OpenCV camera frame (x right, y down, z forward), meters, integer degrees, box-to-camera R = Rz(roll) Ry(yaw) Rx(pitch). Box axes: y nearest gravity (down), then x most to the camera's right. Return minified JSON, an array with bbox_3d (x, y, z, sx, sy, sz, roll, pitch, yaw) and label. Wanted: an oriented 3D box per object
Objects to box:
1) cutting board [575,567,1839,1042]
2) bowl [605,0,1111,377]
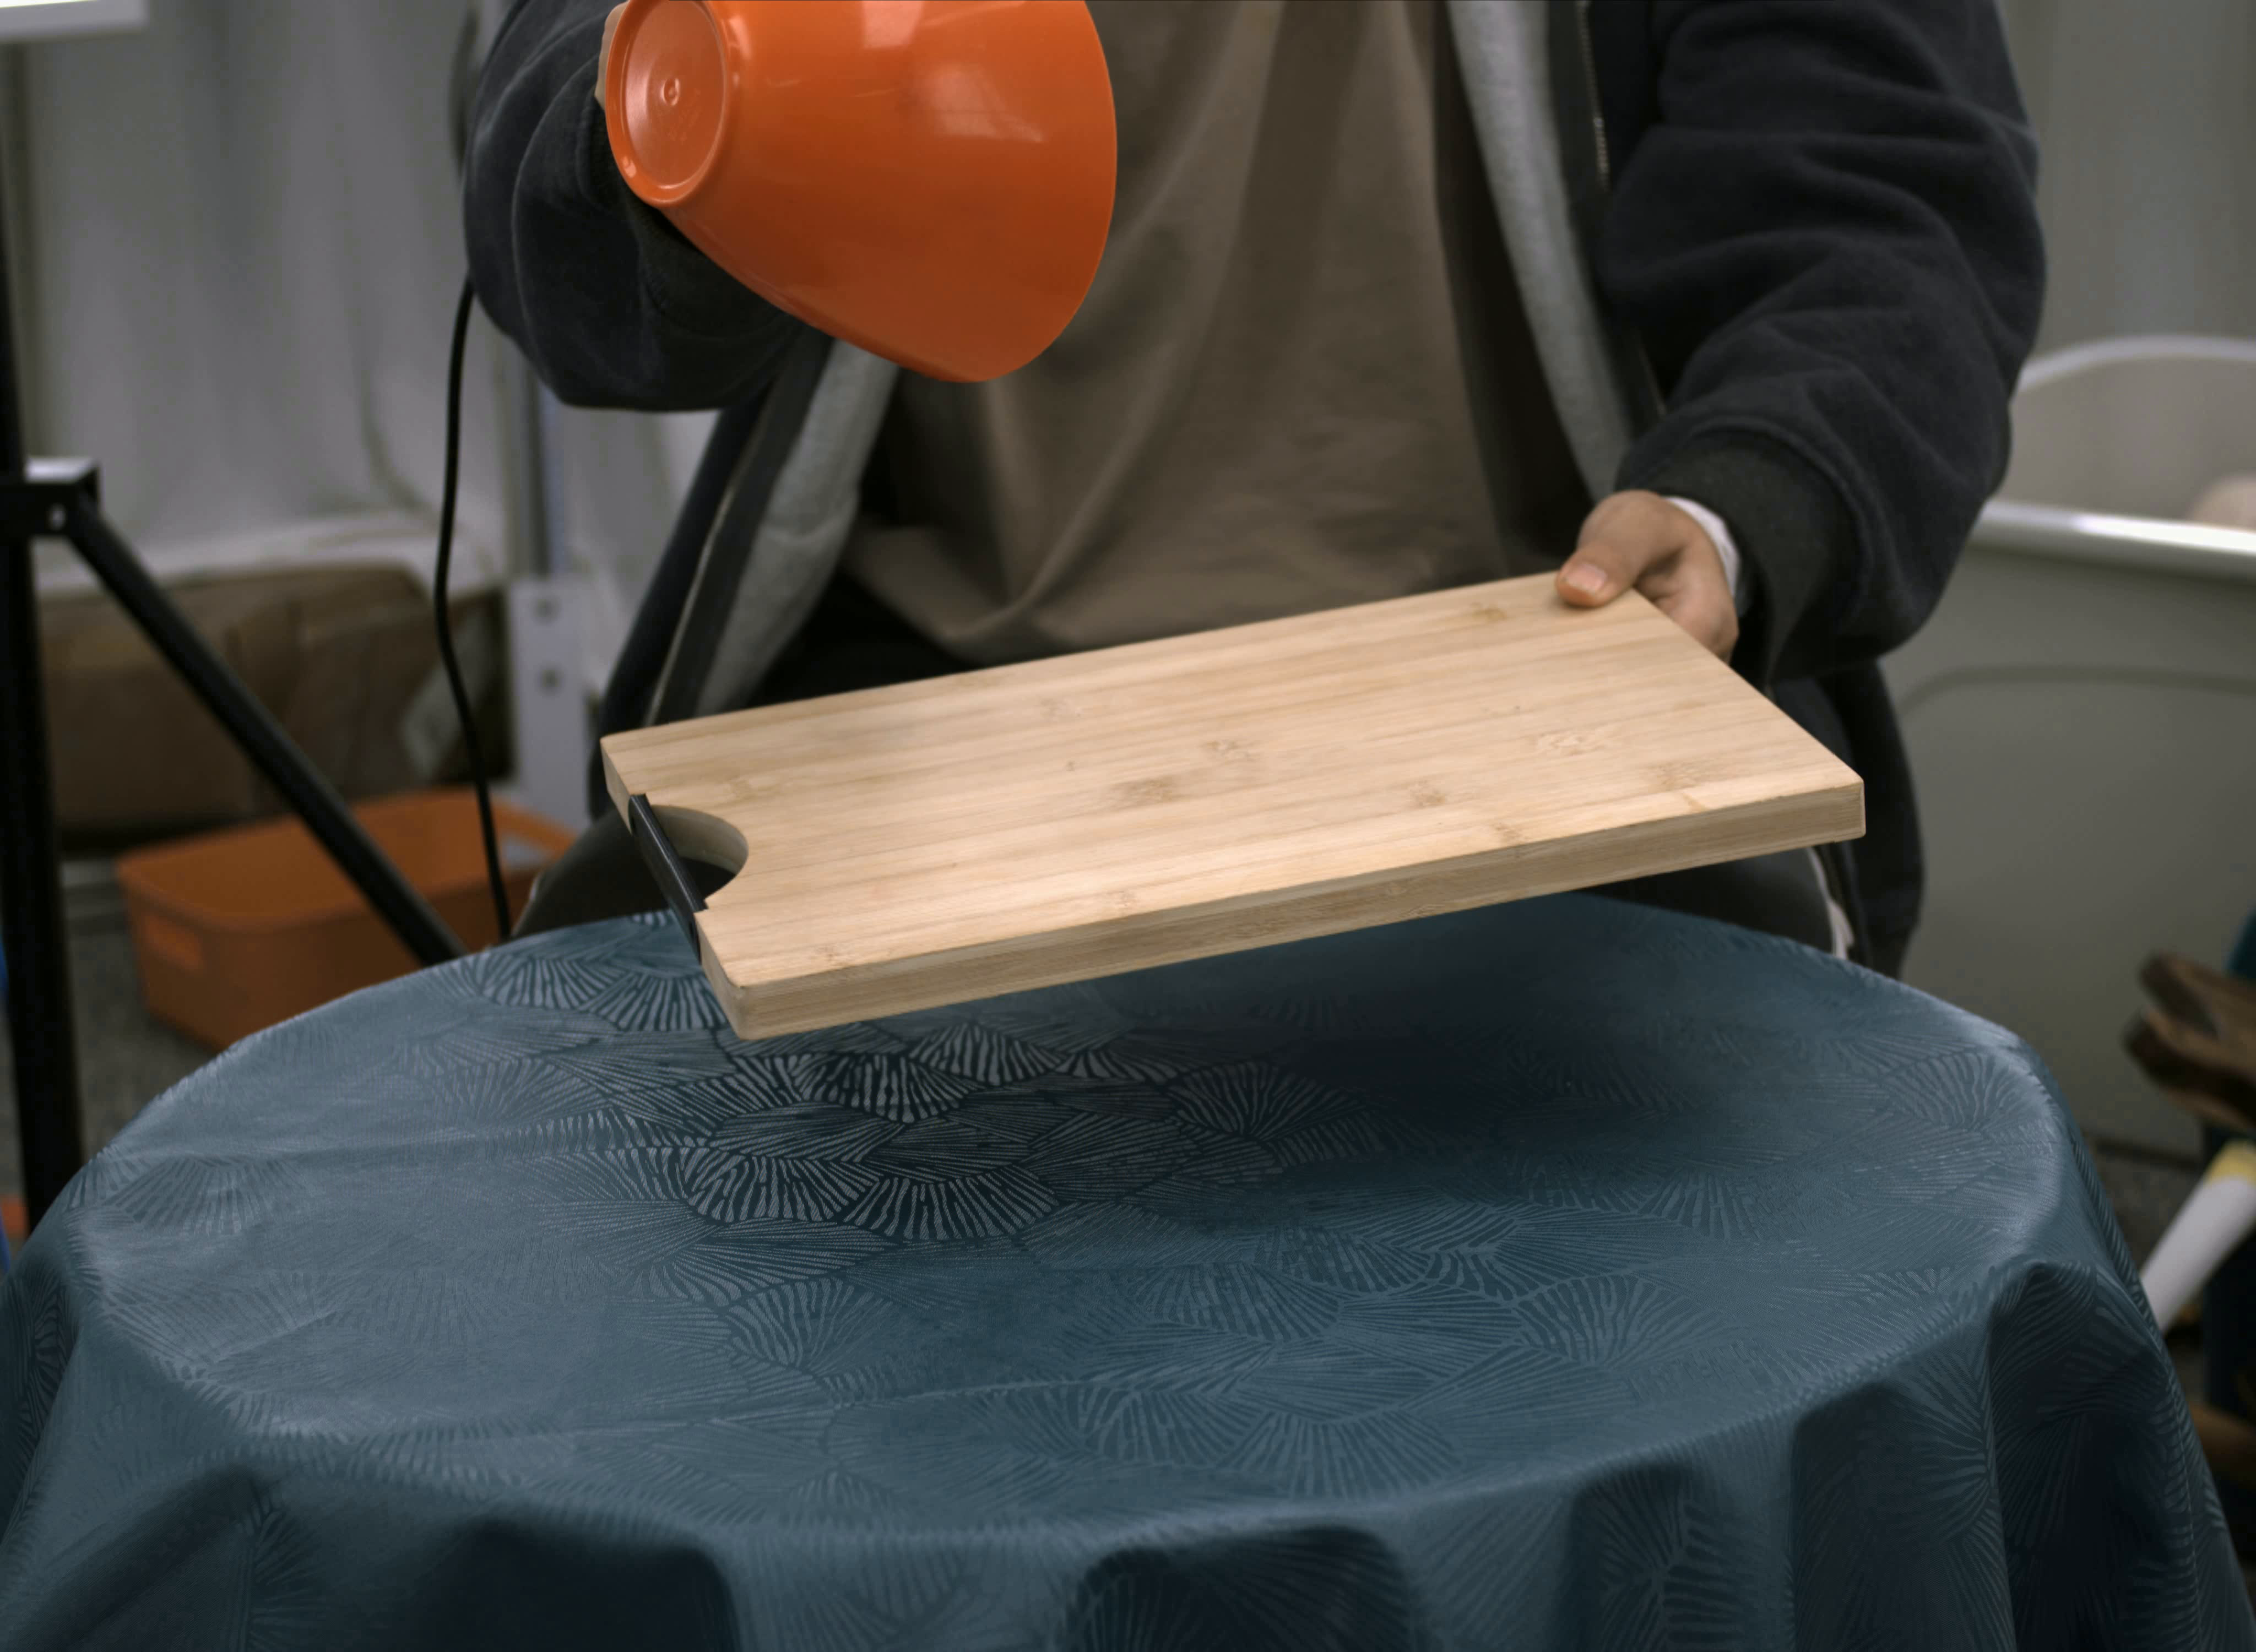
[{"bbox_3d":[0.018,-0.011,1.633,0.344,0.023,0.254,-10,20,-11],"label":"cutting board"},{"bbox_3d":[-0.087,-0.204,1.548,0.102,0.148,0.151,-3,14,-34],"label":"bowl"}]
